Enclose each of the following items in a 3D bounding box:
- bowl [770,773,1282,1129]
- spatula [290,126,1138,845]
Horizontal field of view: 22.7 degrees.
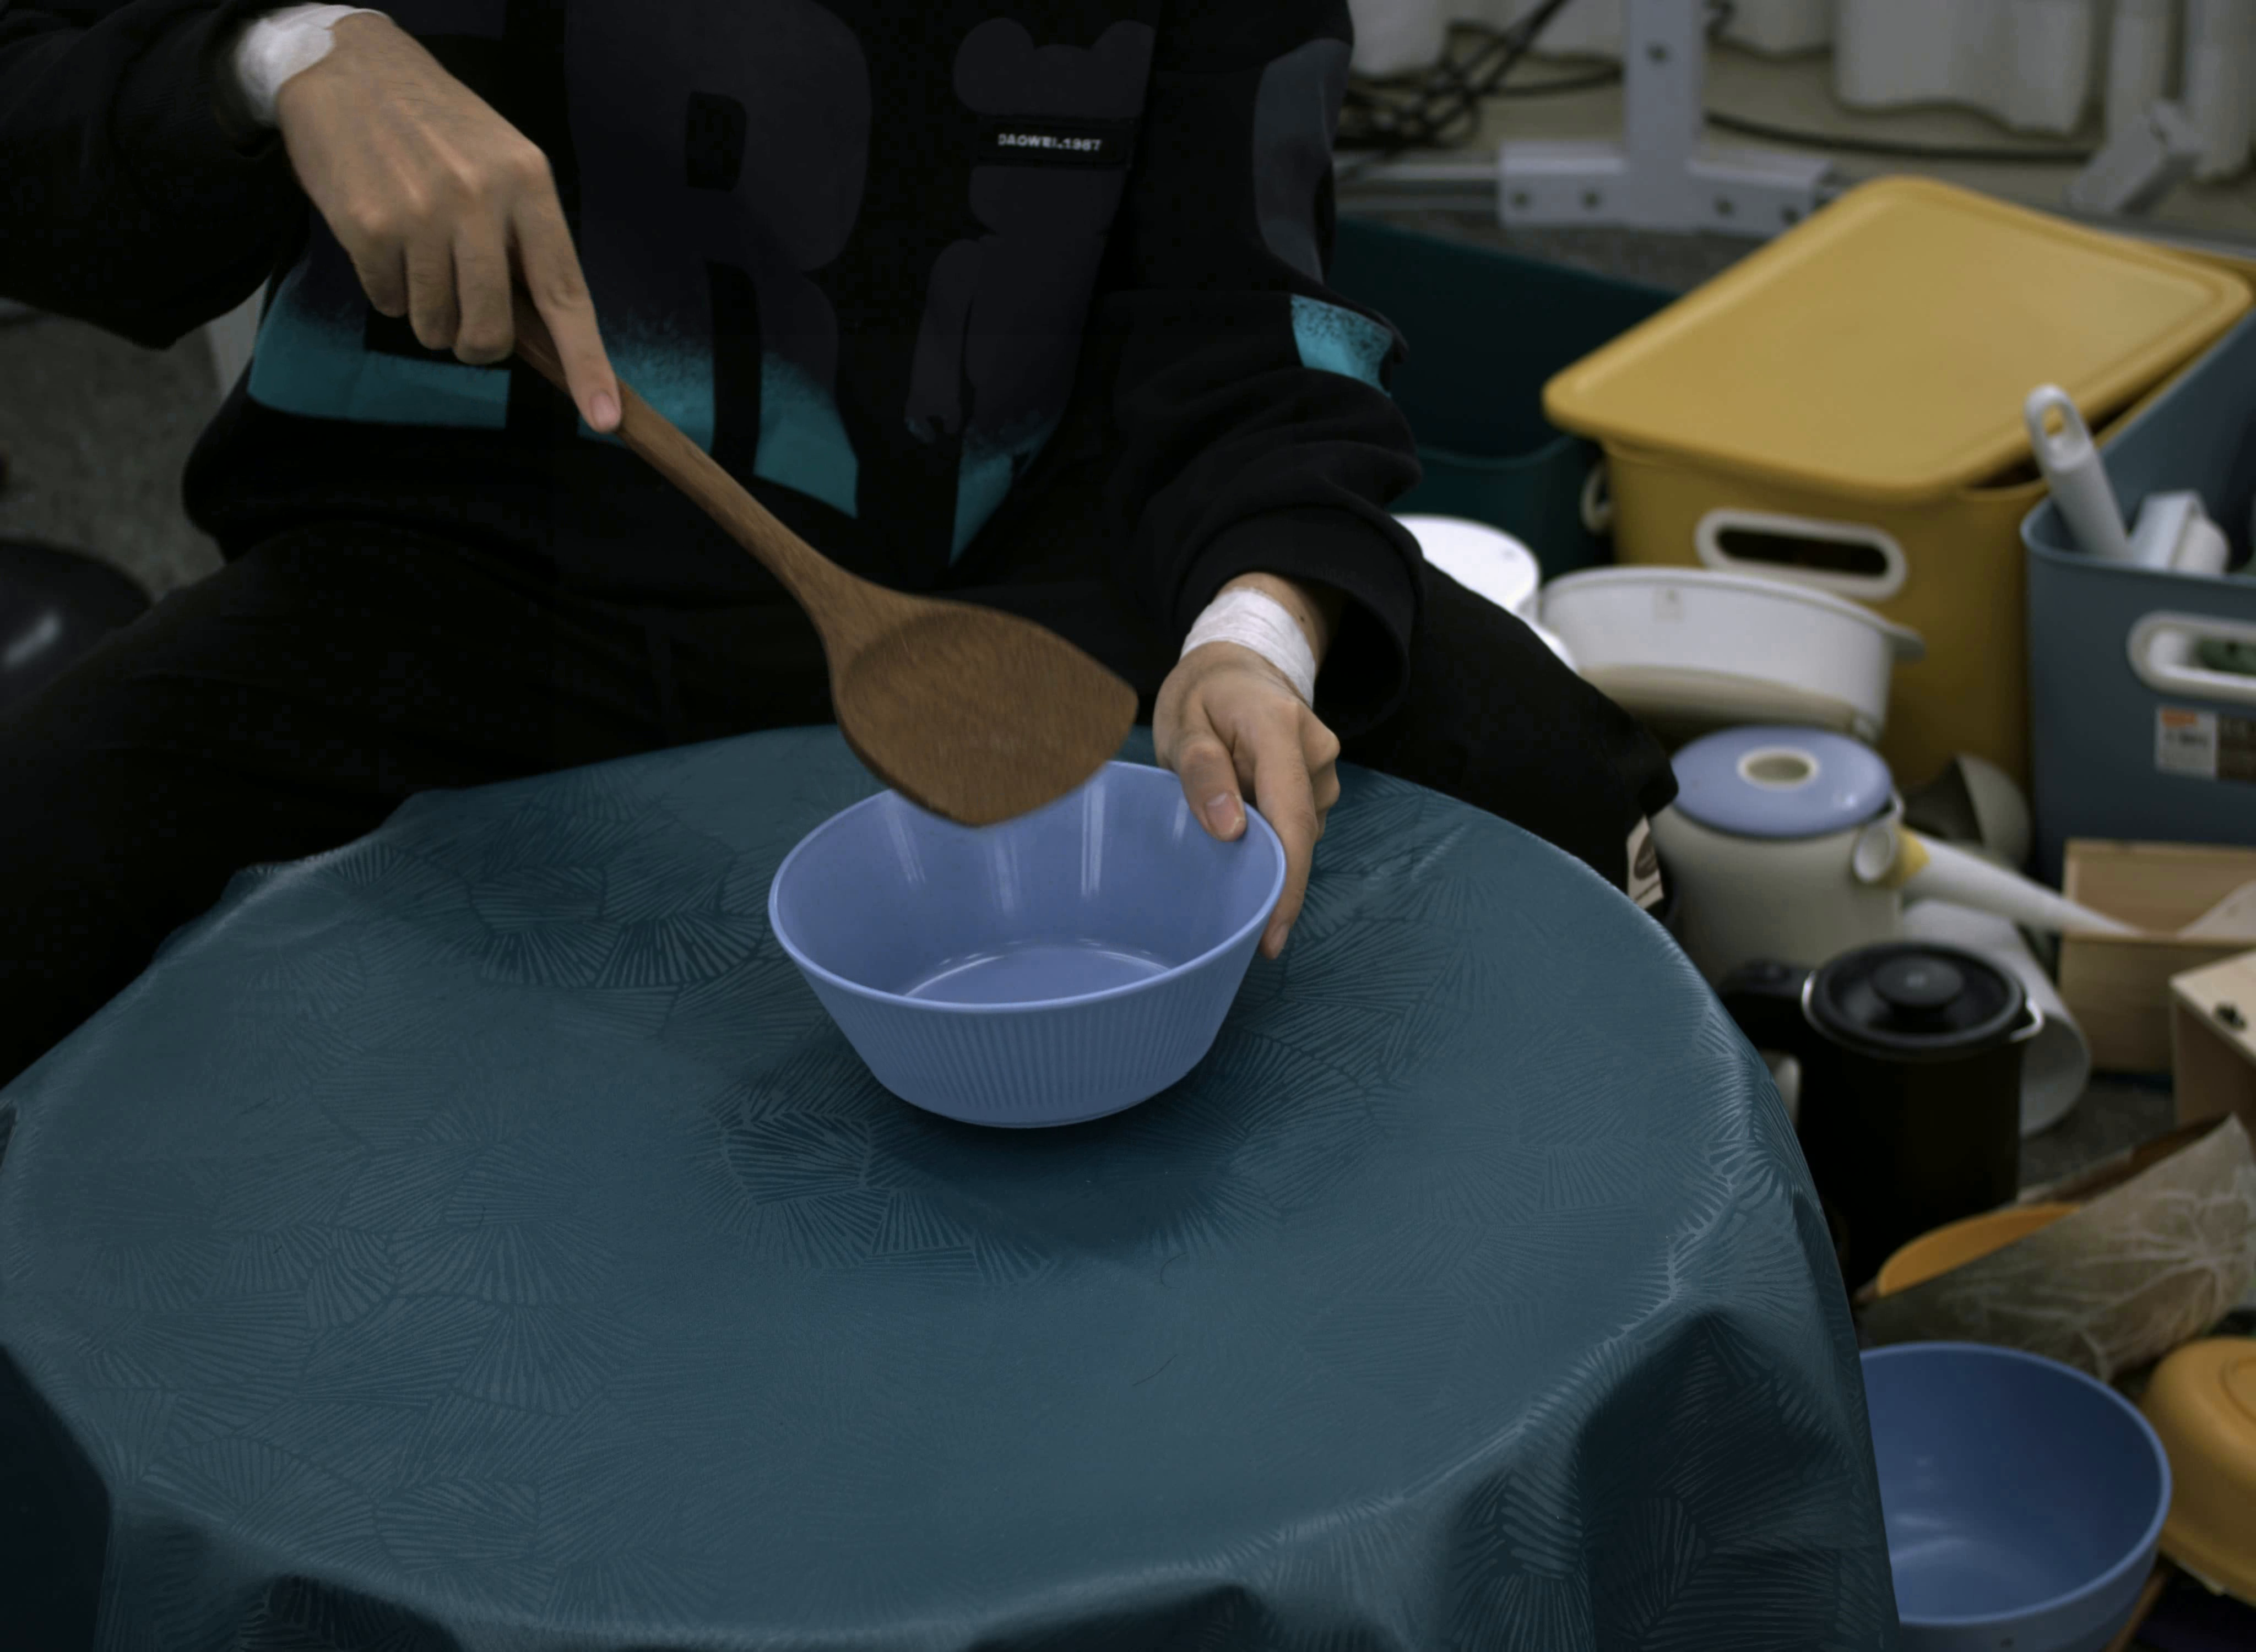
[{"bbox_3d":[-0.032,0.048,1.916,0.175,0.069,0.178,-3,26,2],"label":"bowl"},{"bbox_3d":[-0.155,-0.125,1.936,0.387,0.015,0.097,41,50,18],"label":"spatula"}]
